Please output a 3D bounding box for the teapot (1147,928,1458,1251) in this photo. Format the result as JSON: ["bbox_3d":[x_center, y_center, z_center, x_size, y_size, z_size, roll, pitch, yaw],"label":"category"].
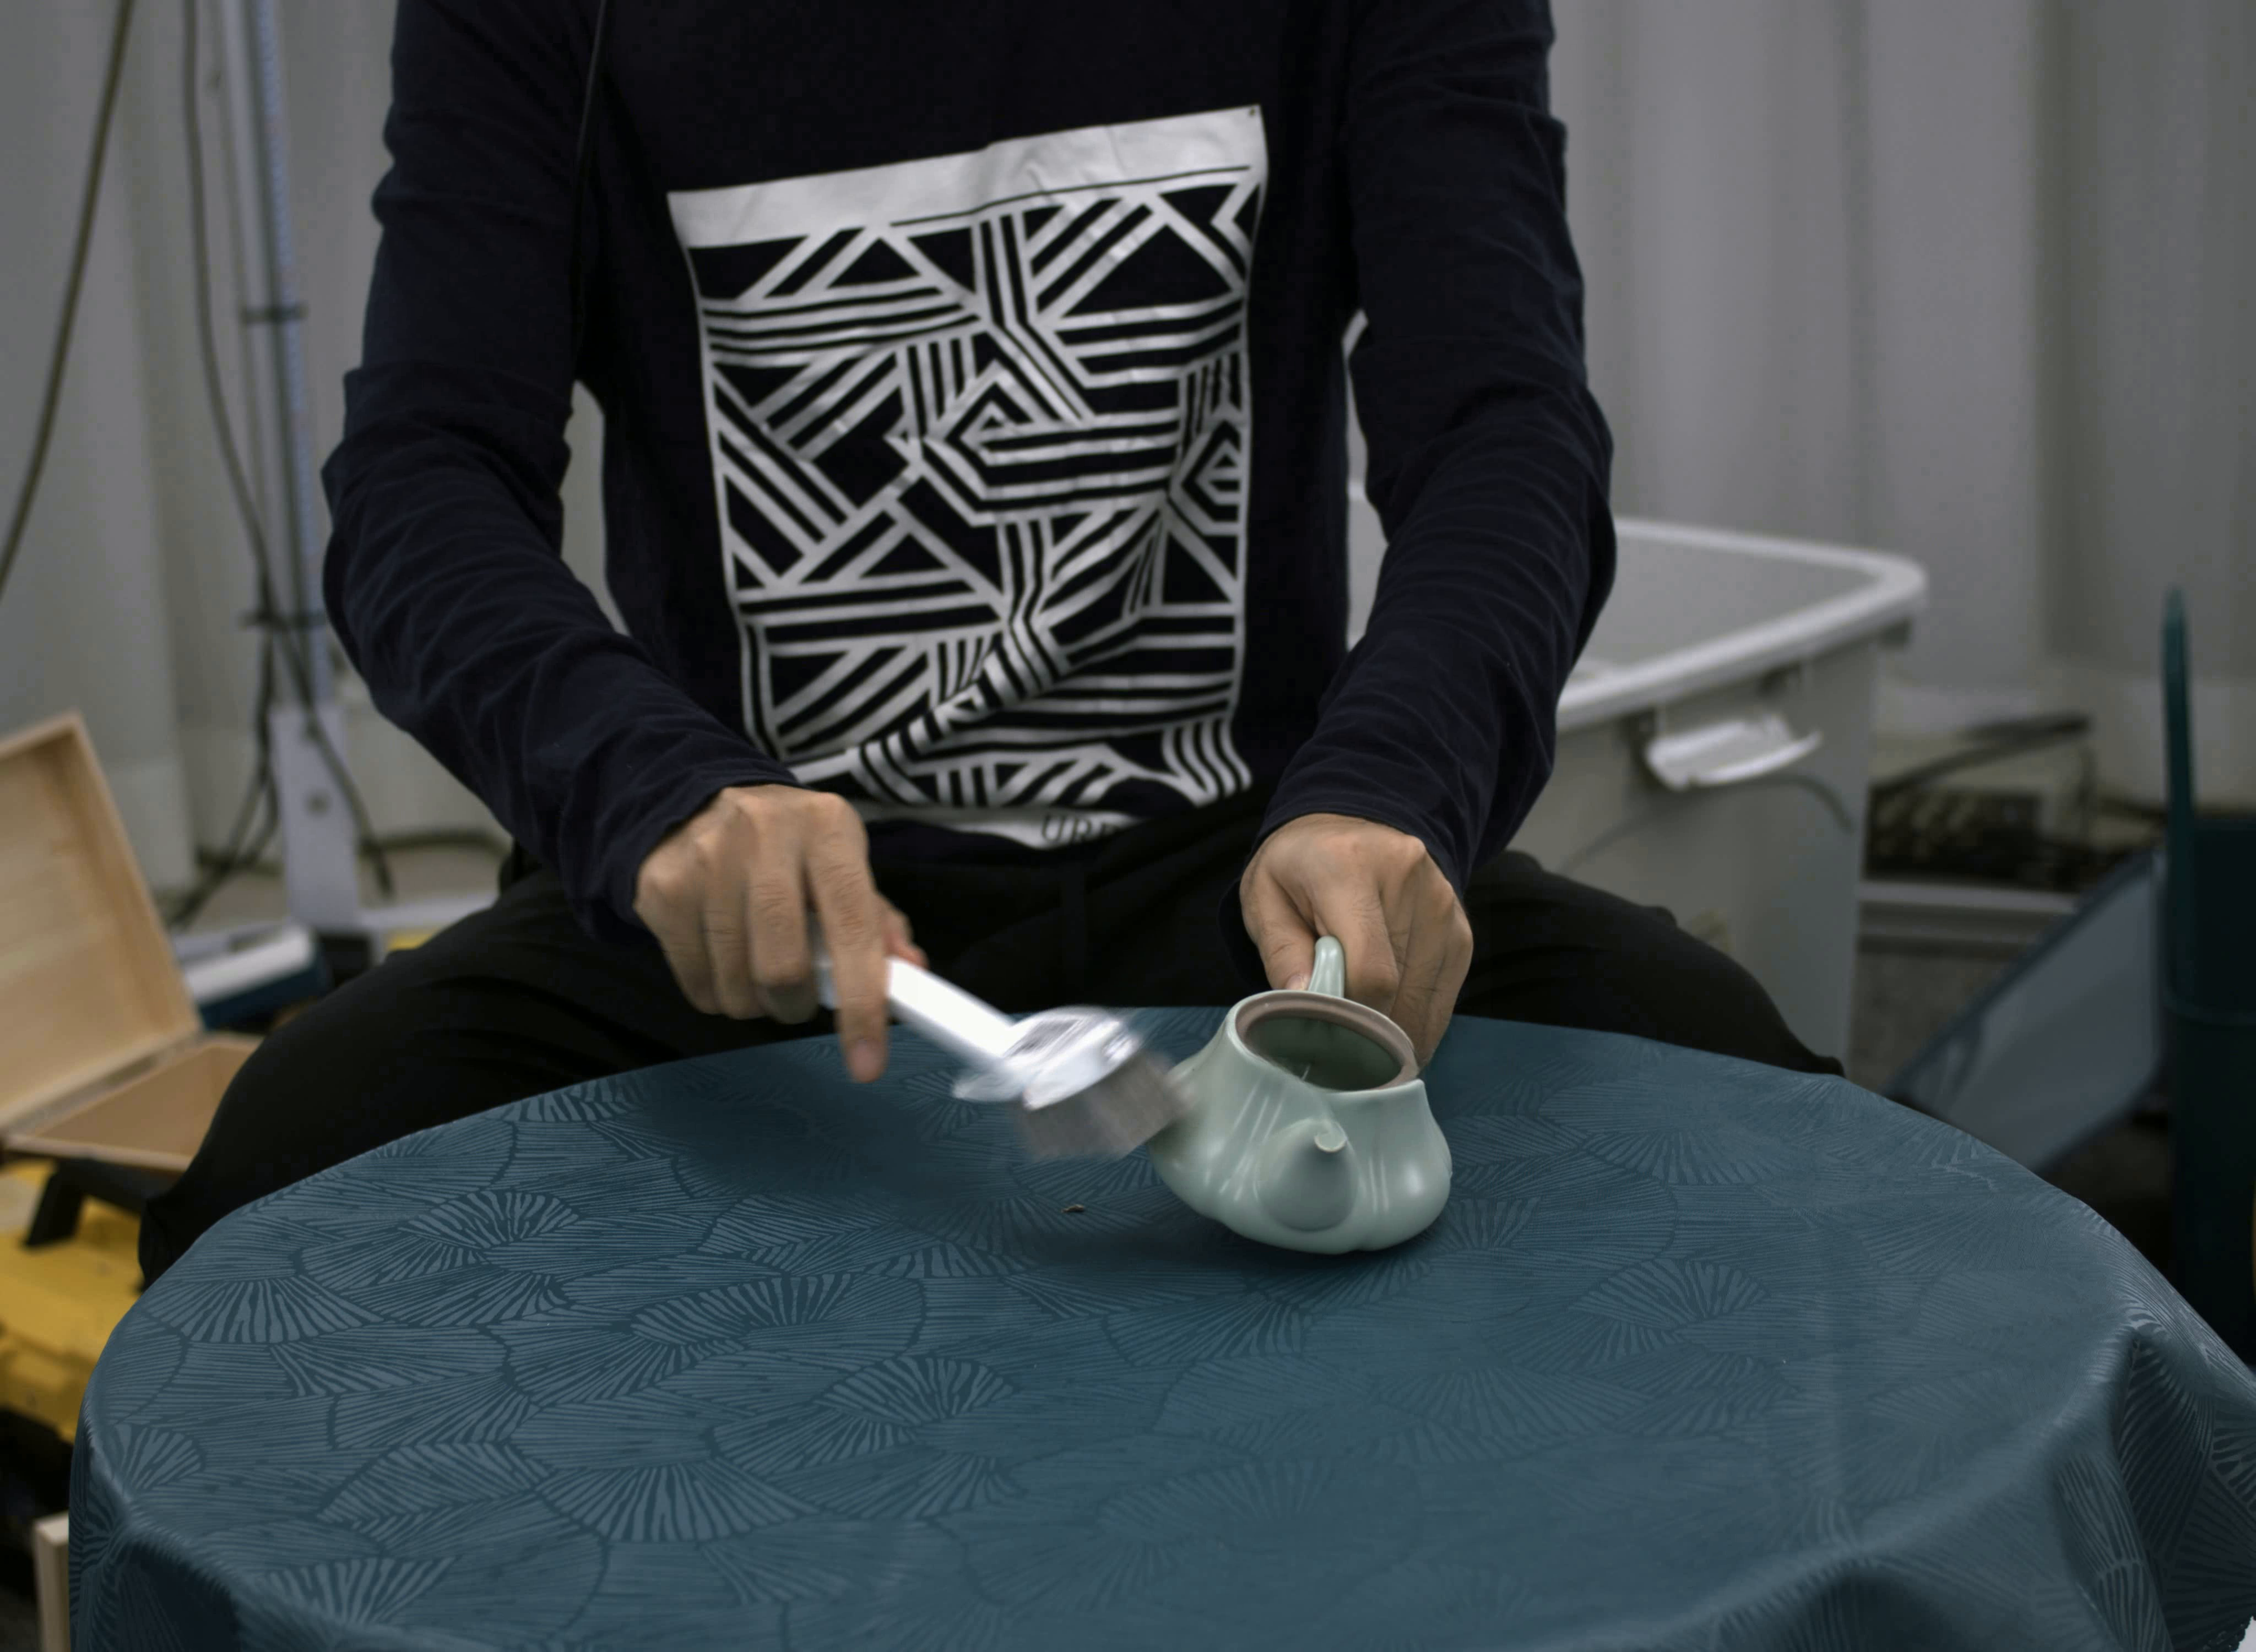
[{"bbox_3d":[0.055,0.085,1.668,0.096,0.061,0.138,8,28,-4],"label":"teapot"}]

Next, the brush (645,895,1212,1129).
[{"bbox_3d":[-0.066,0.058,1.718,0.245,0.049,0.034,10,46,48],"label":"brush"}]
